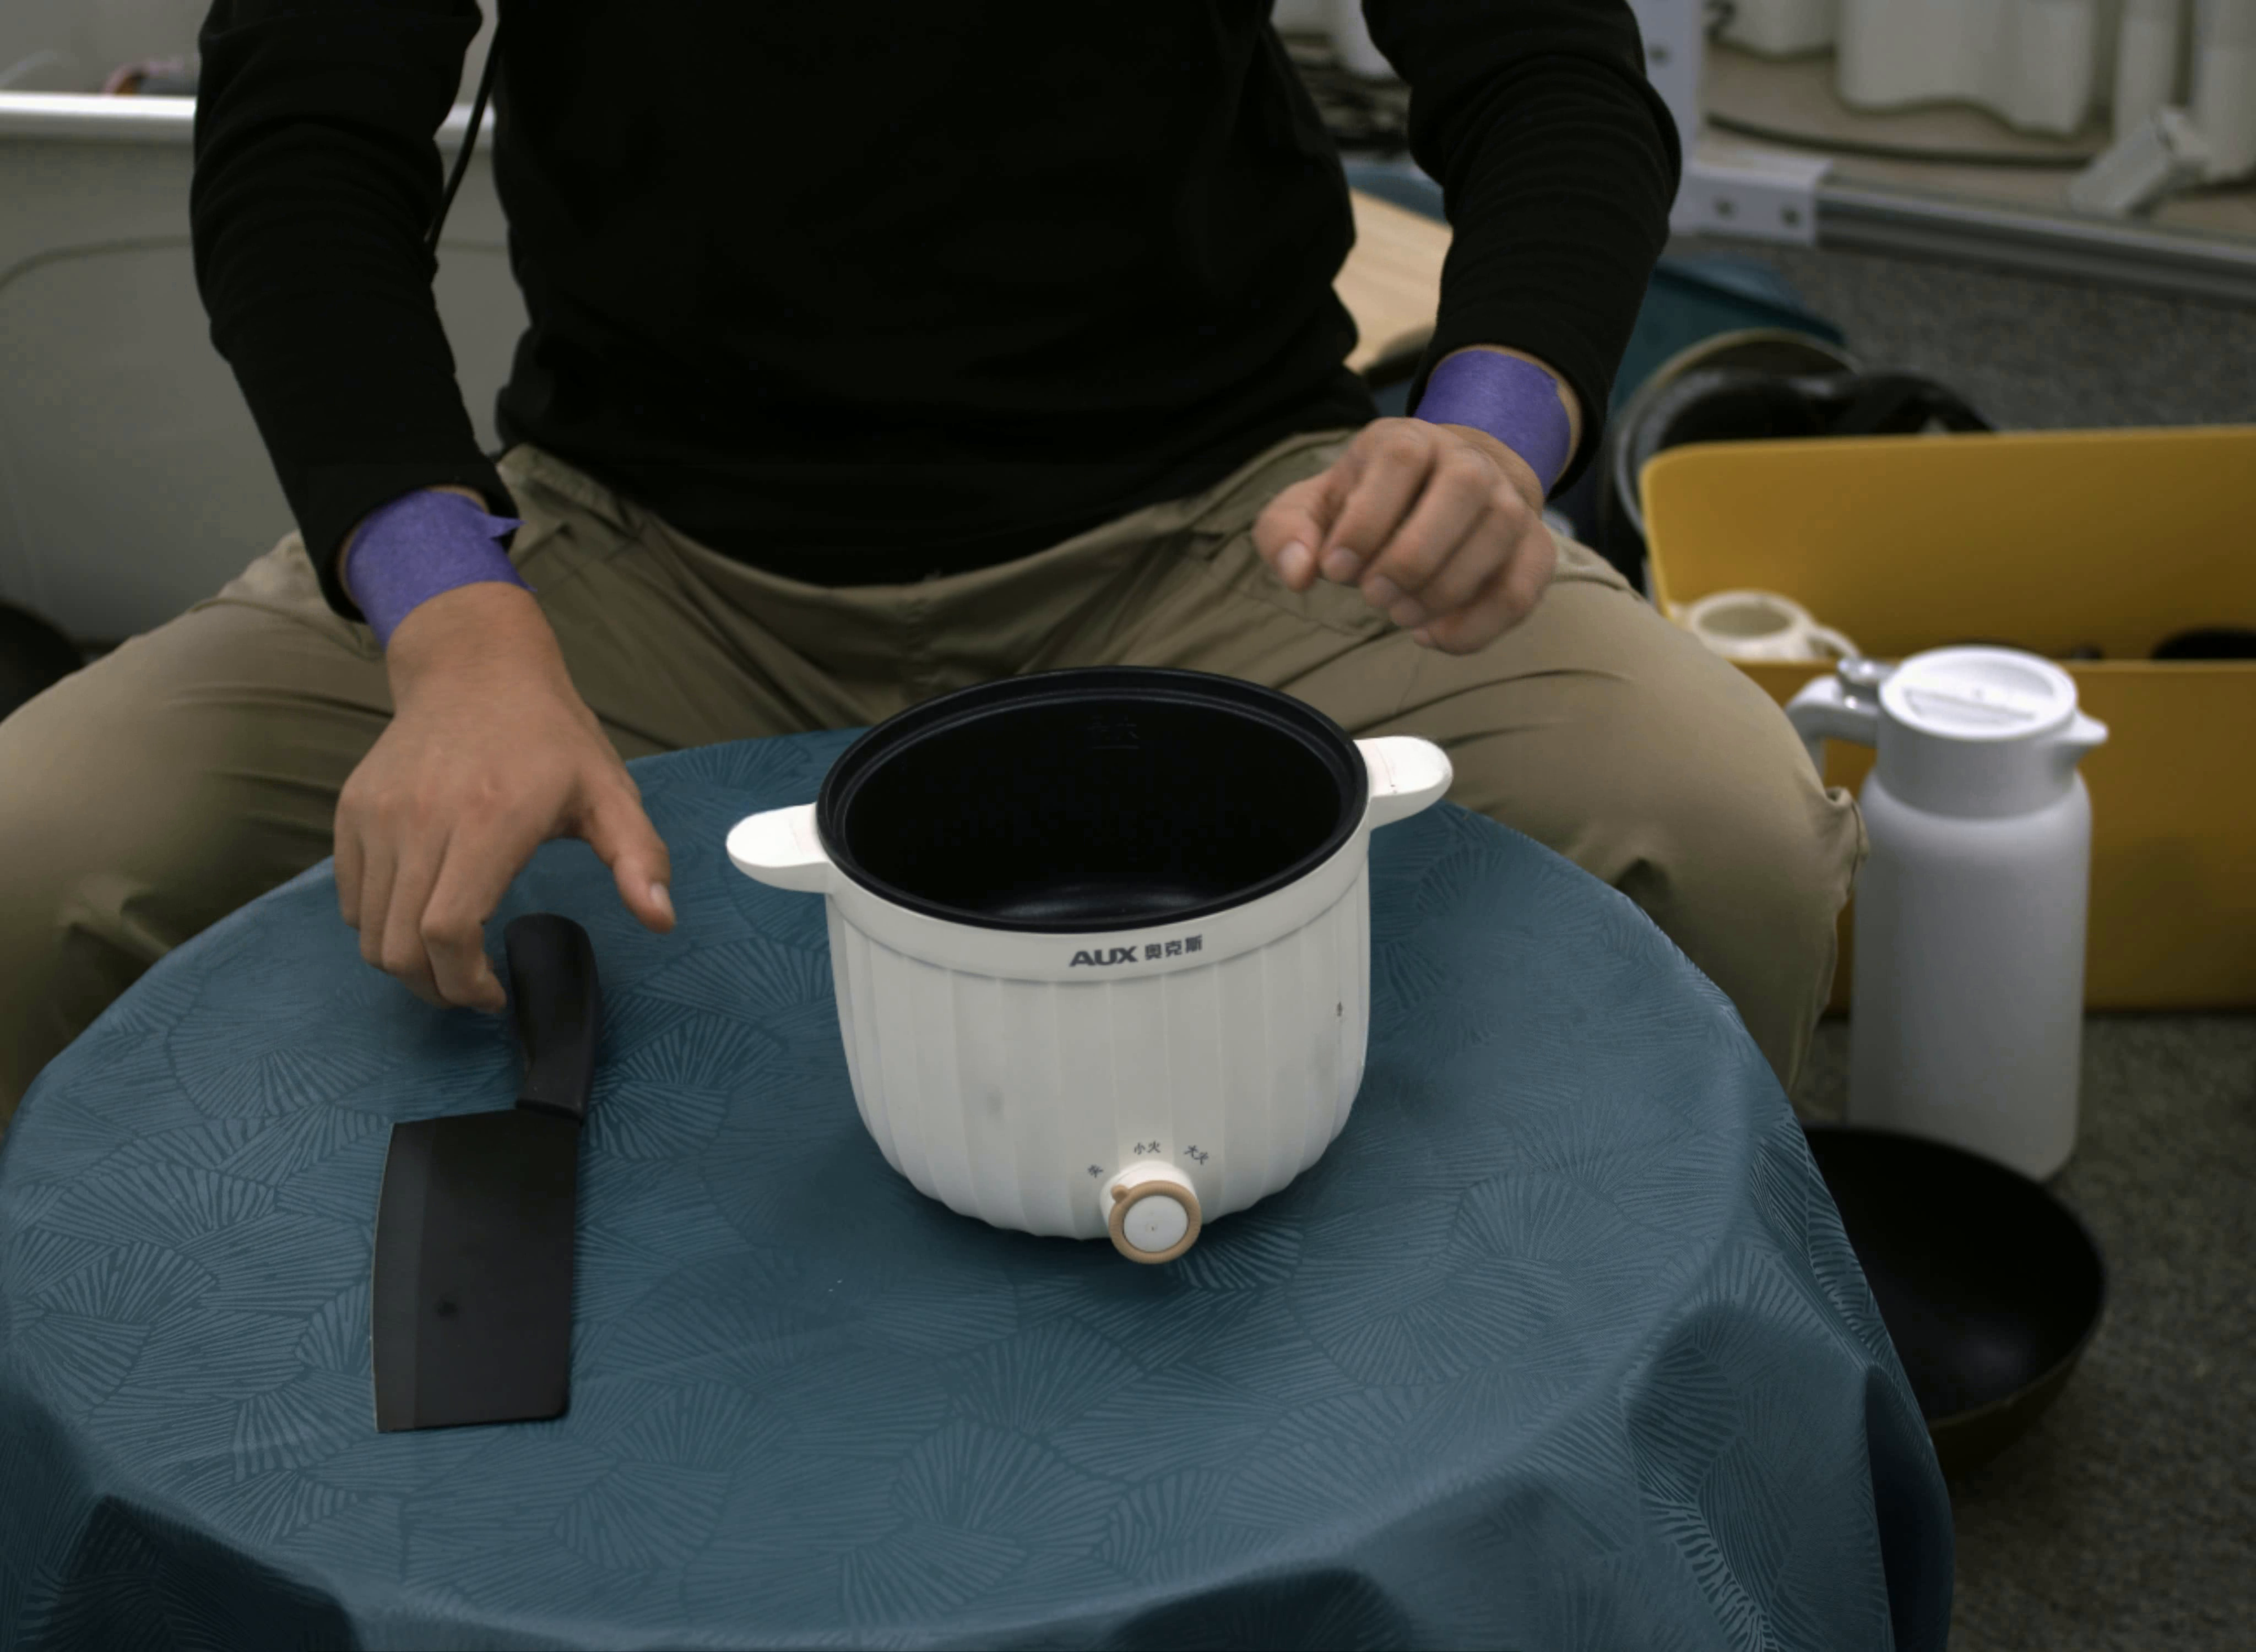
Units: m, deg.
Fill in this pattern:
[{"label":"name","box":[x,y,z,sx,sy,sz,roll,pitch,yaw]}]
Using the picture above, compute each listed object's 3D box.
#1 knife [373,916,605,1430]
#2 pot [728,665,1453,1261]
[{"label":"knife","box":[-0.211,0.114,1.881,0.080,0.020,0.307,-2,29,3]},{"label":"pot","box":[-0.006,0.049,1.853,0.240,0.141,0.192,-8,24,-7]}]
